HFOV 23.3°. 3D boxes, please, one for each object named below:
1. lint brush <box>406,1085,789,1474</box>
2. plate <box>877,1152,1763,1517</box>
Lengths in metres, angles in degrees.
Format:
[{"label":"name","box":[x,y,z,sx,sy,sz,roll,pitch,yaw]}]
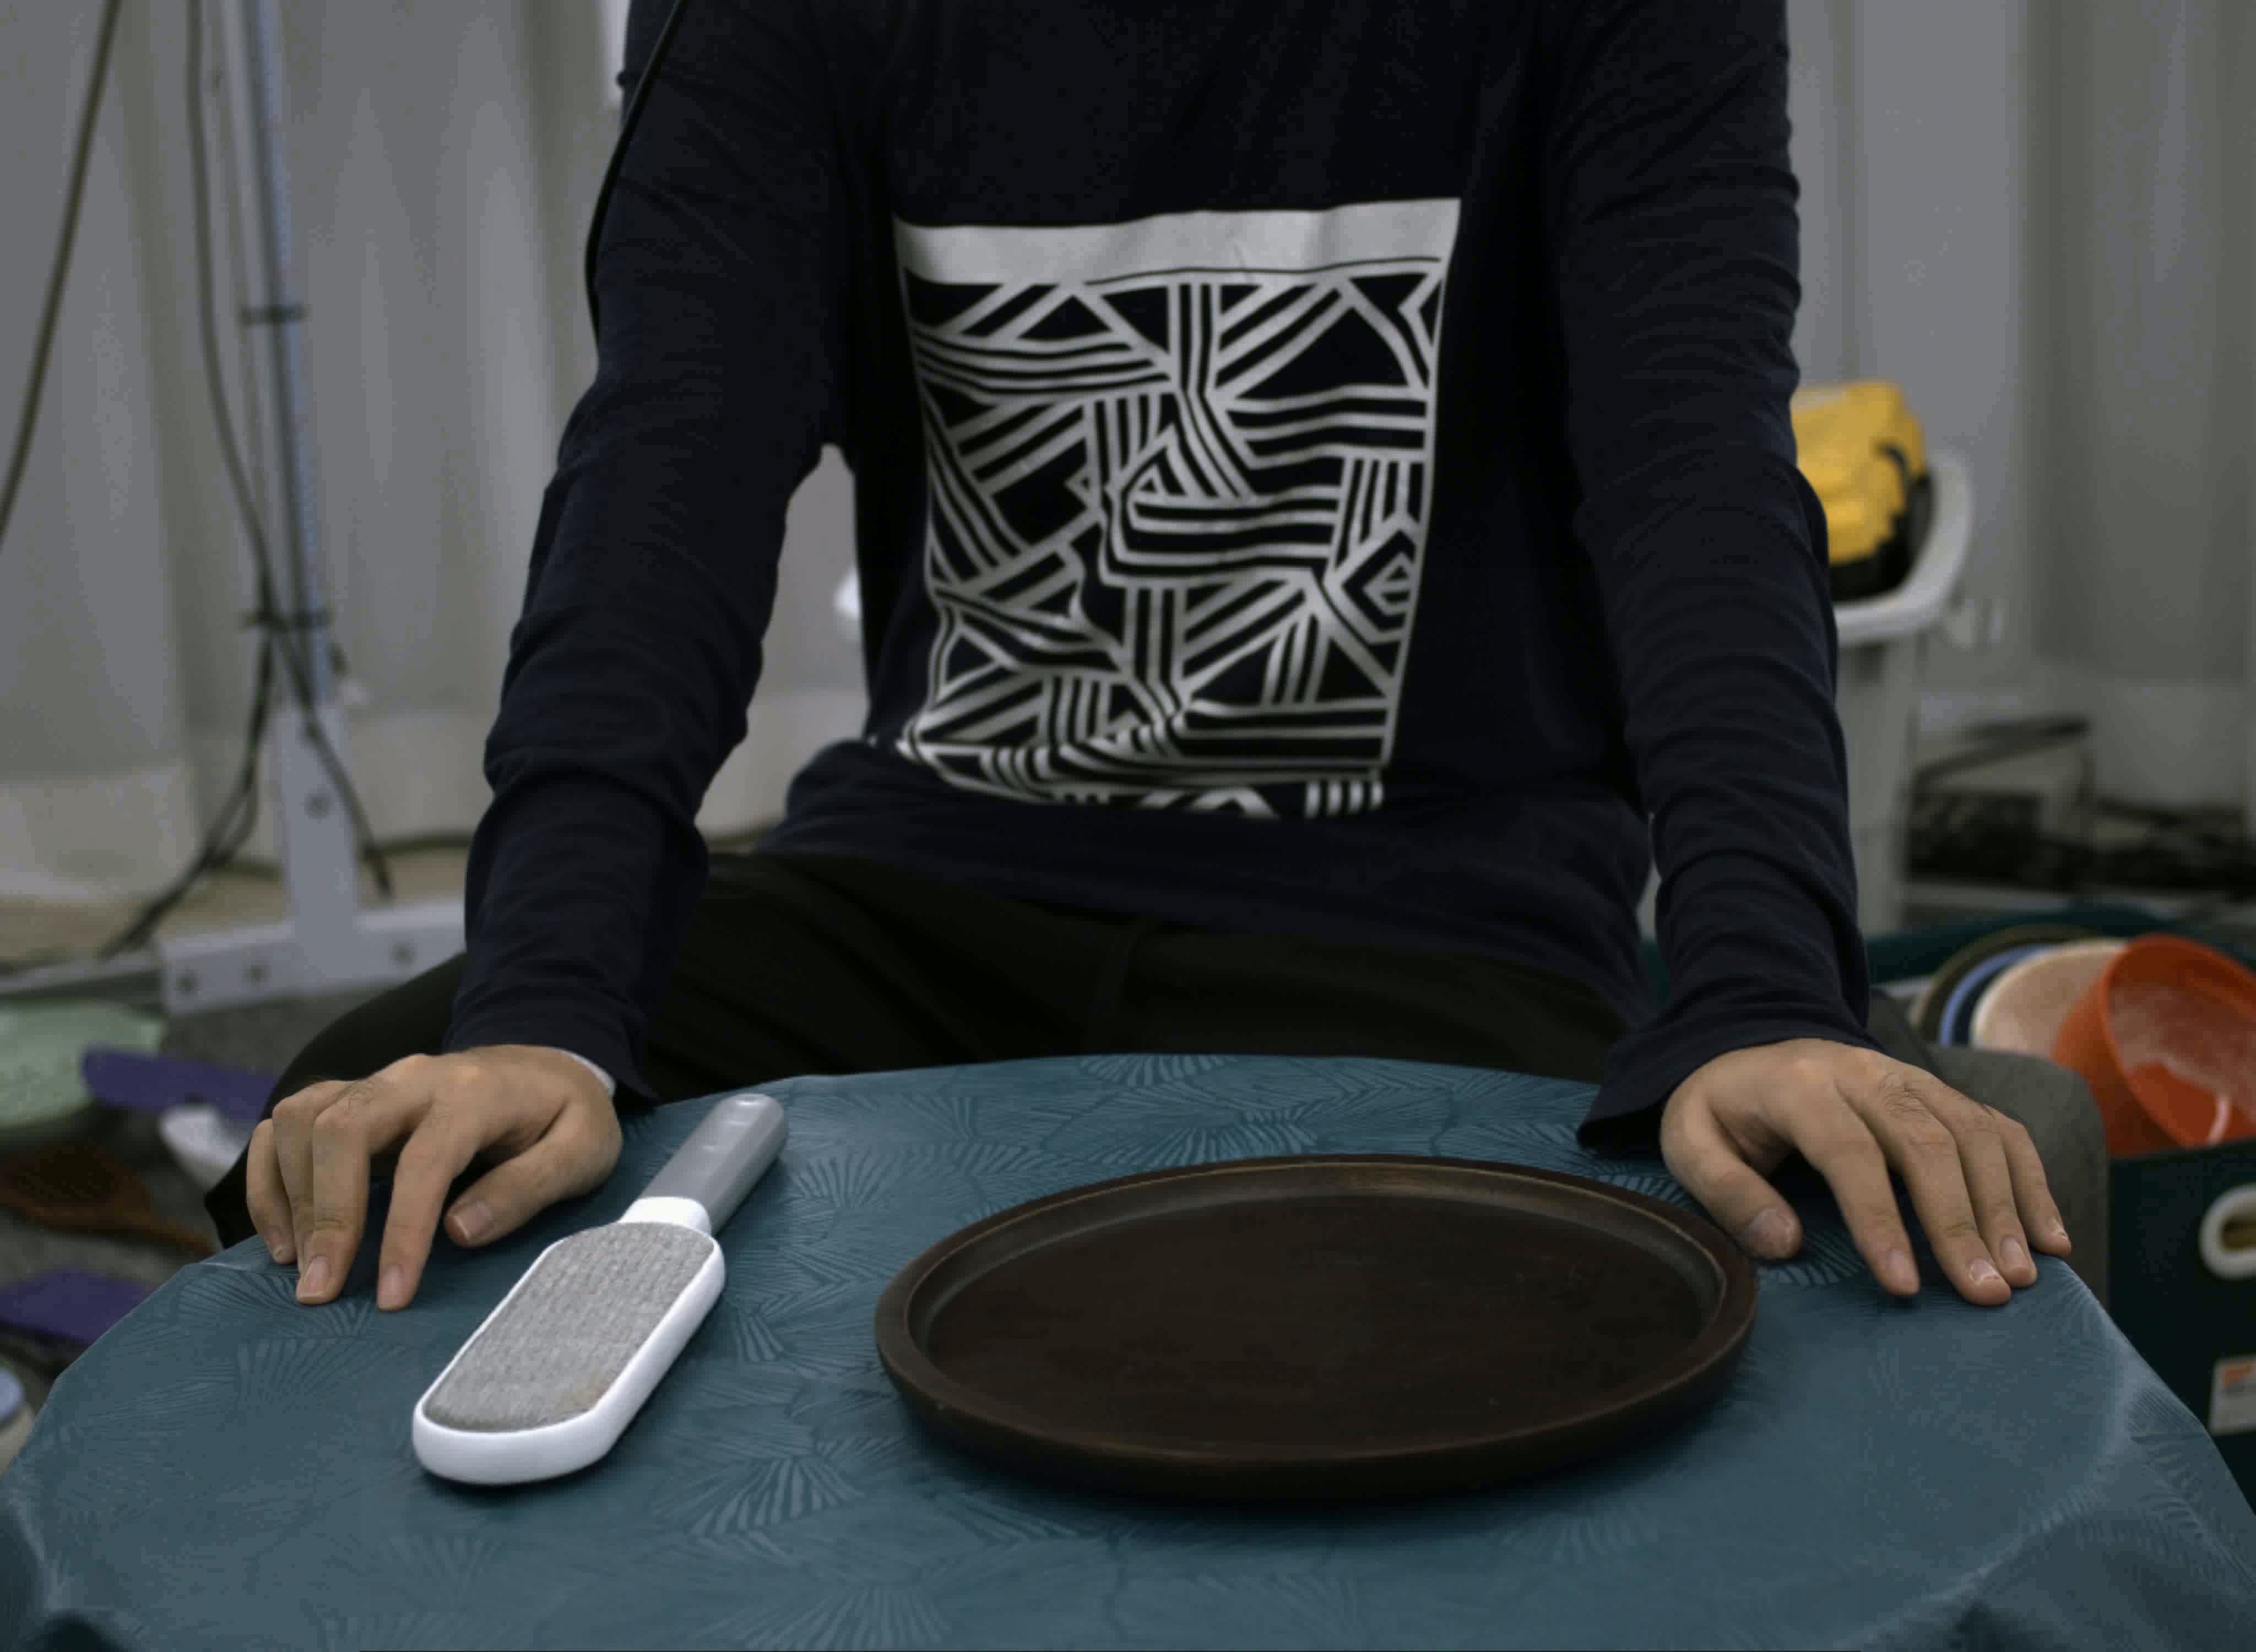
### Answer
[{"label":"lint brush","box":[-0.147,0.131,1.631,0.060,0.021,0.310,-5,14,12]},{"label":"plate","box":[0.054,0.142,1.557,0.254,0.029,0.256,-1,15,0]}]
